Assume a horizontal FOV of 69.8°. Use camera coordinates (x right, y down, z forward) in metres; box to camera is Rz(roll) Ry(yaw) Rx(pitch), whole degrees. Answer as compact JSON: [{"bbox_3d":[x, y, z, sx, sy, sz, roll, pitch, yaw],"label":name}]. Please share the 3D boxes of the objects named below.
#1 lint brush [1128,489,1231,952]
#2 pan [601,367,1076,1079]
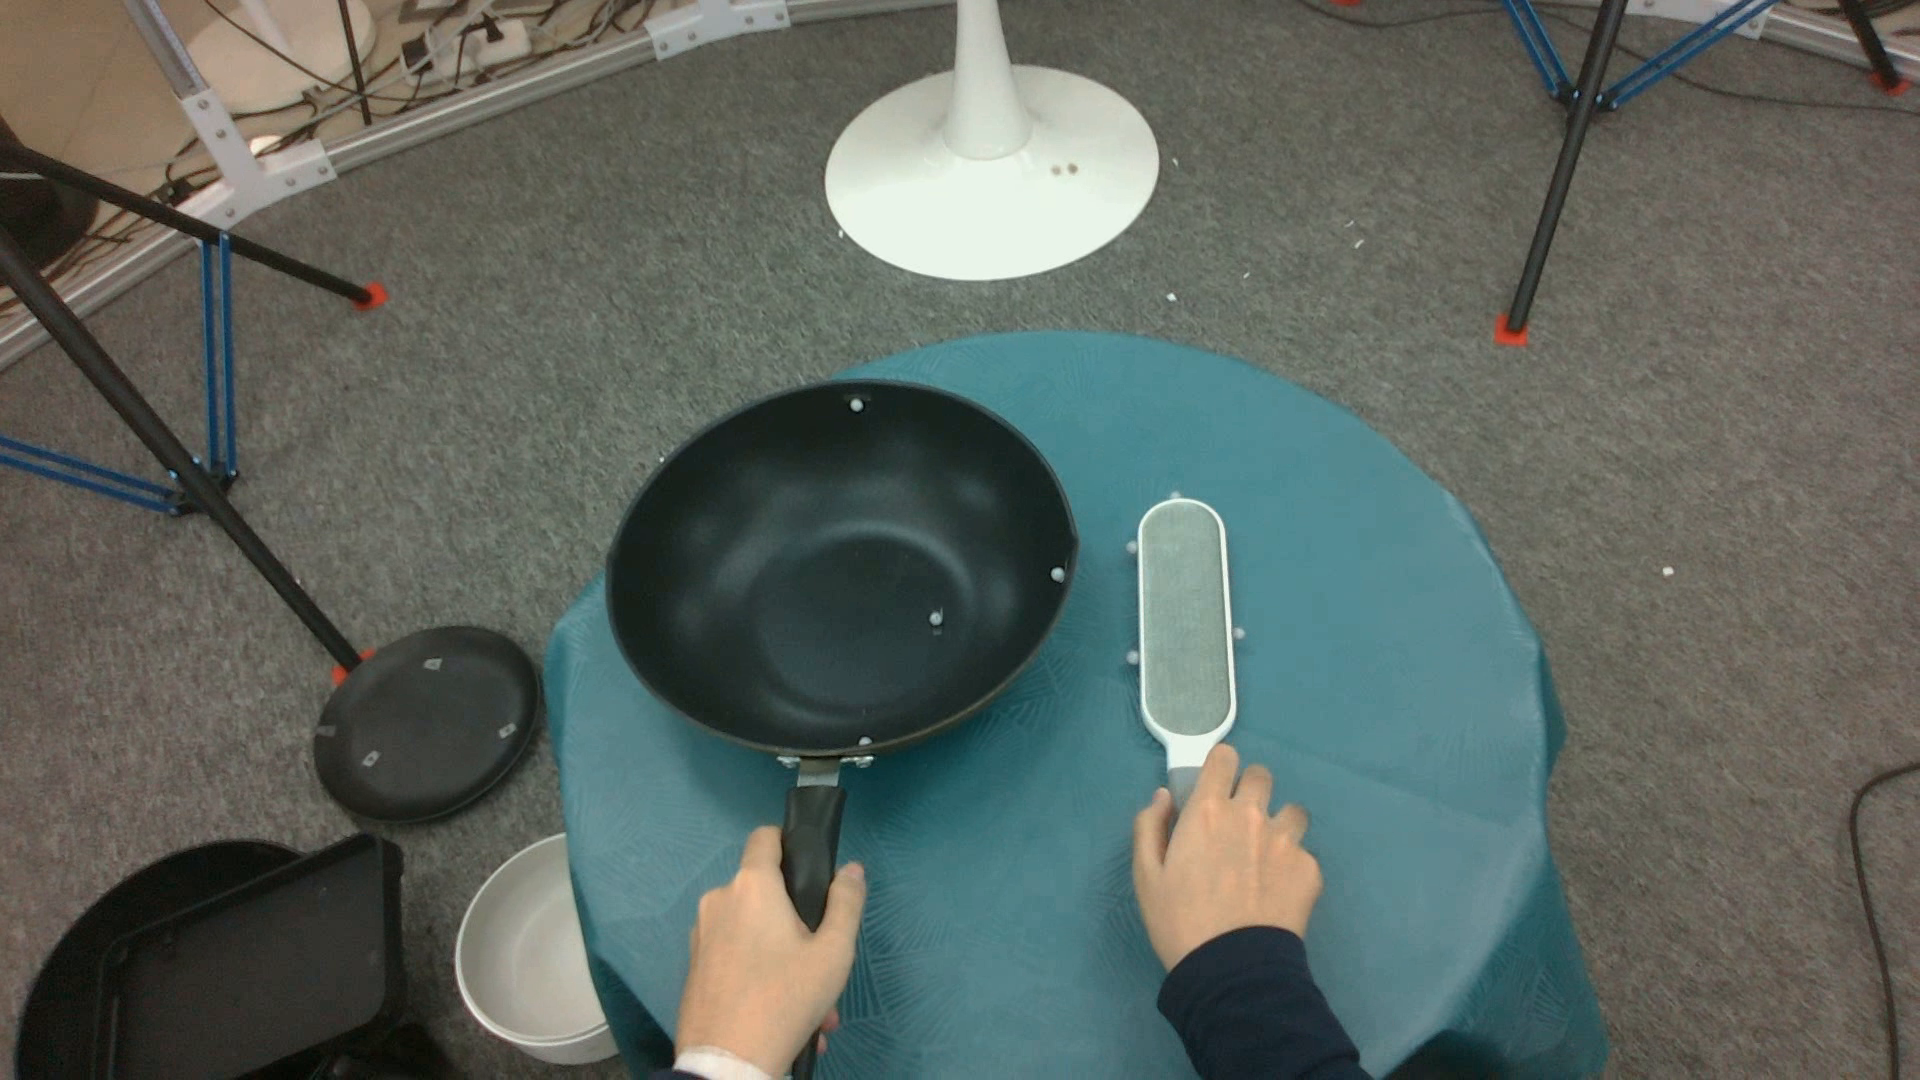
[{"bbox_3d":[0.130,0.092,0.816,0.060,0.021,0.310,1,53,5],"label":"lint brush"},{"bbox_3d":[-0.076,0.096,0.799,0.288,0.086,0.465,-1,53,5],"label":"pan"}]
